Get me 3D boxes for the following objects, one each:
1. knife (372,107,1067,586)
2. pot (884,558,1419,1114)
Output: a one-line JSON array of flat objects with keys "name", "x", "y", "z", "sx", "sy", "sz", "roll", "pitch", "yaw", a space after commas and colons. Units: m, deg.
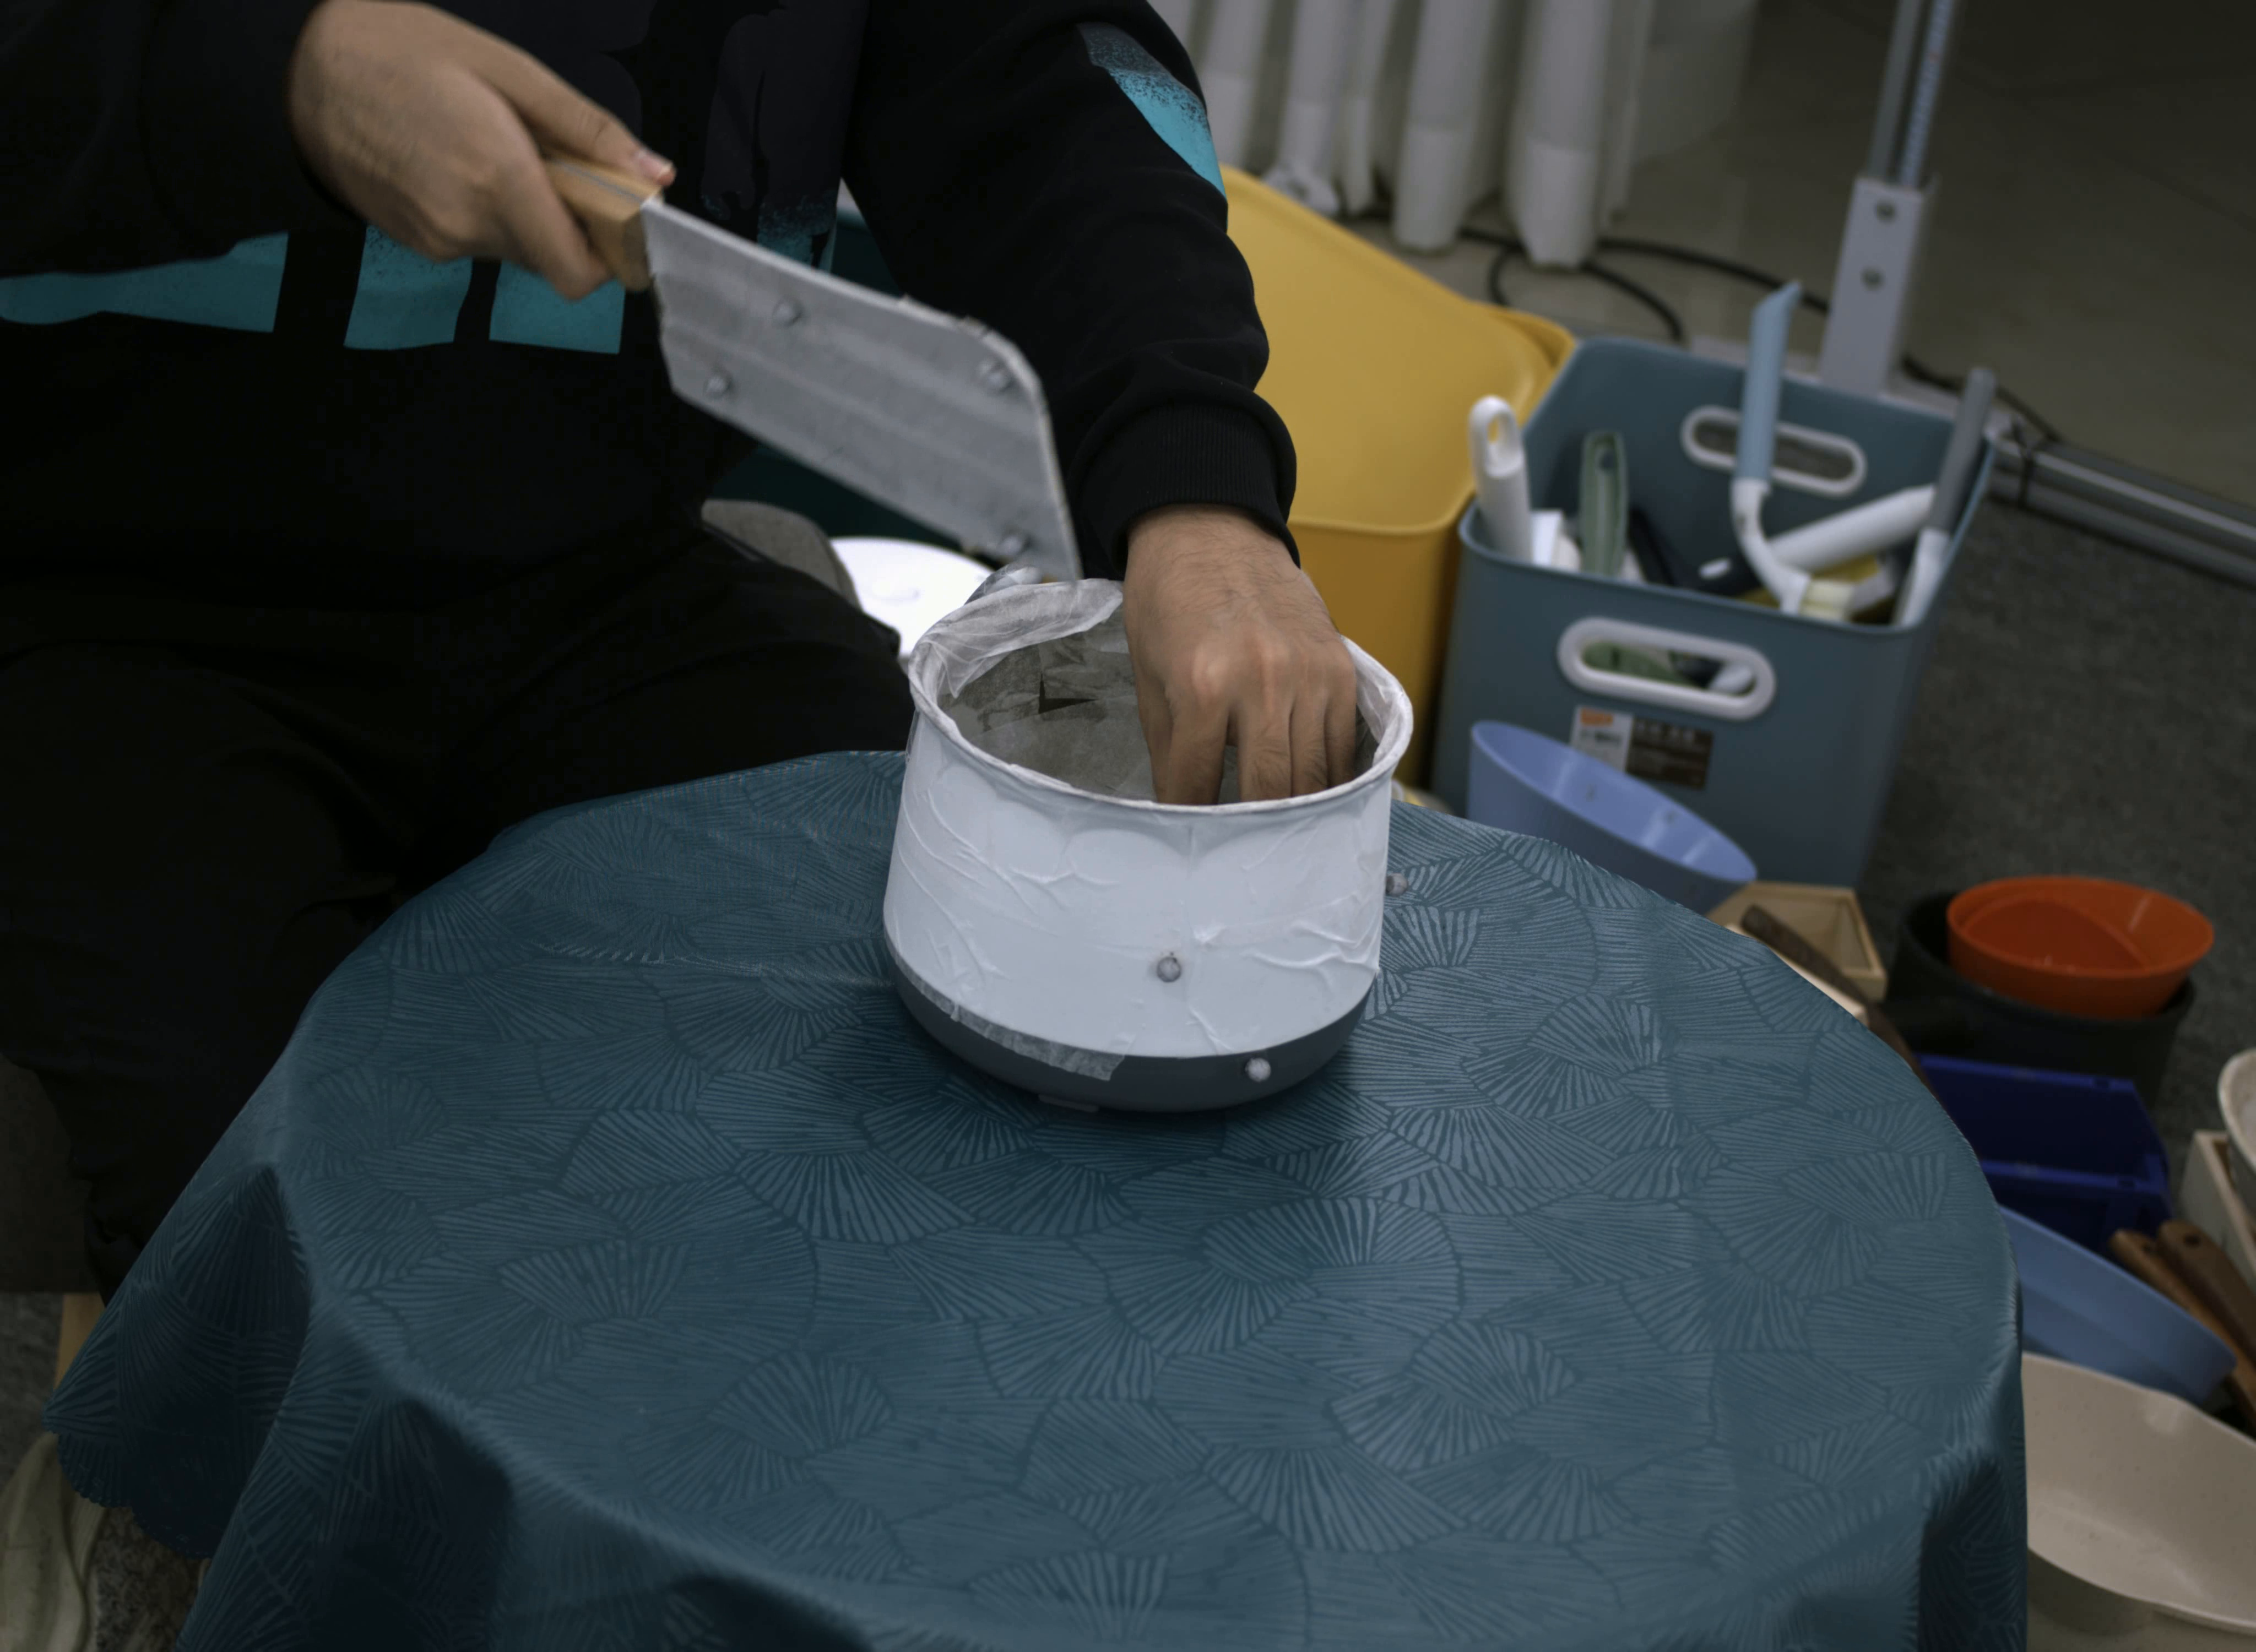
[{"name": "knife", "x": -0.140, "y": -0.173, "z": 1.788, "sx": 0.317, "sy": 0.113, "sz": 0.022, "roll": 30, "pitch": 55, "yaw": 31}, {"name": "pot", "x": -0.009, "y": -0.004, "z": 1.898, "sx": 0.177, "sy": 0.136, "sz": 0.236, "roll": -9, "pitch": 32, "yaw": -30}]
